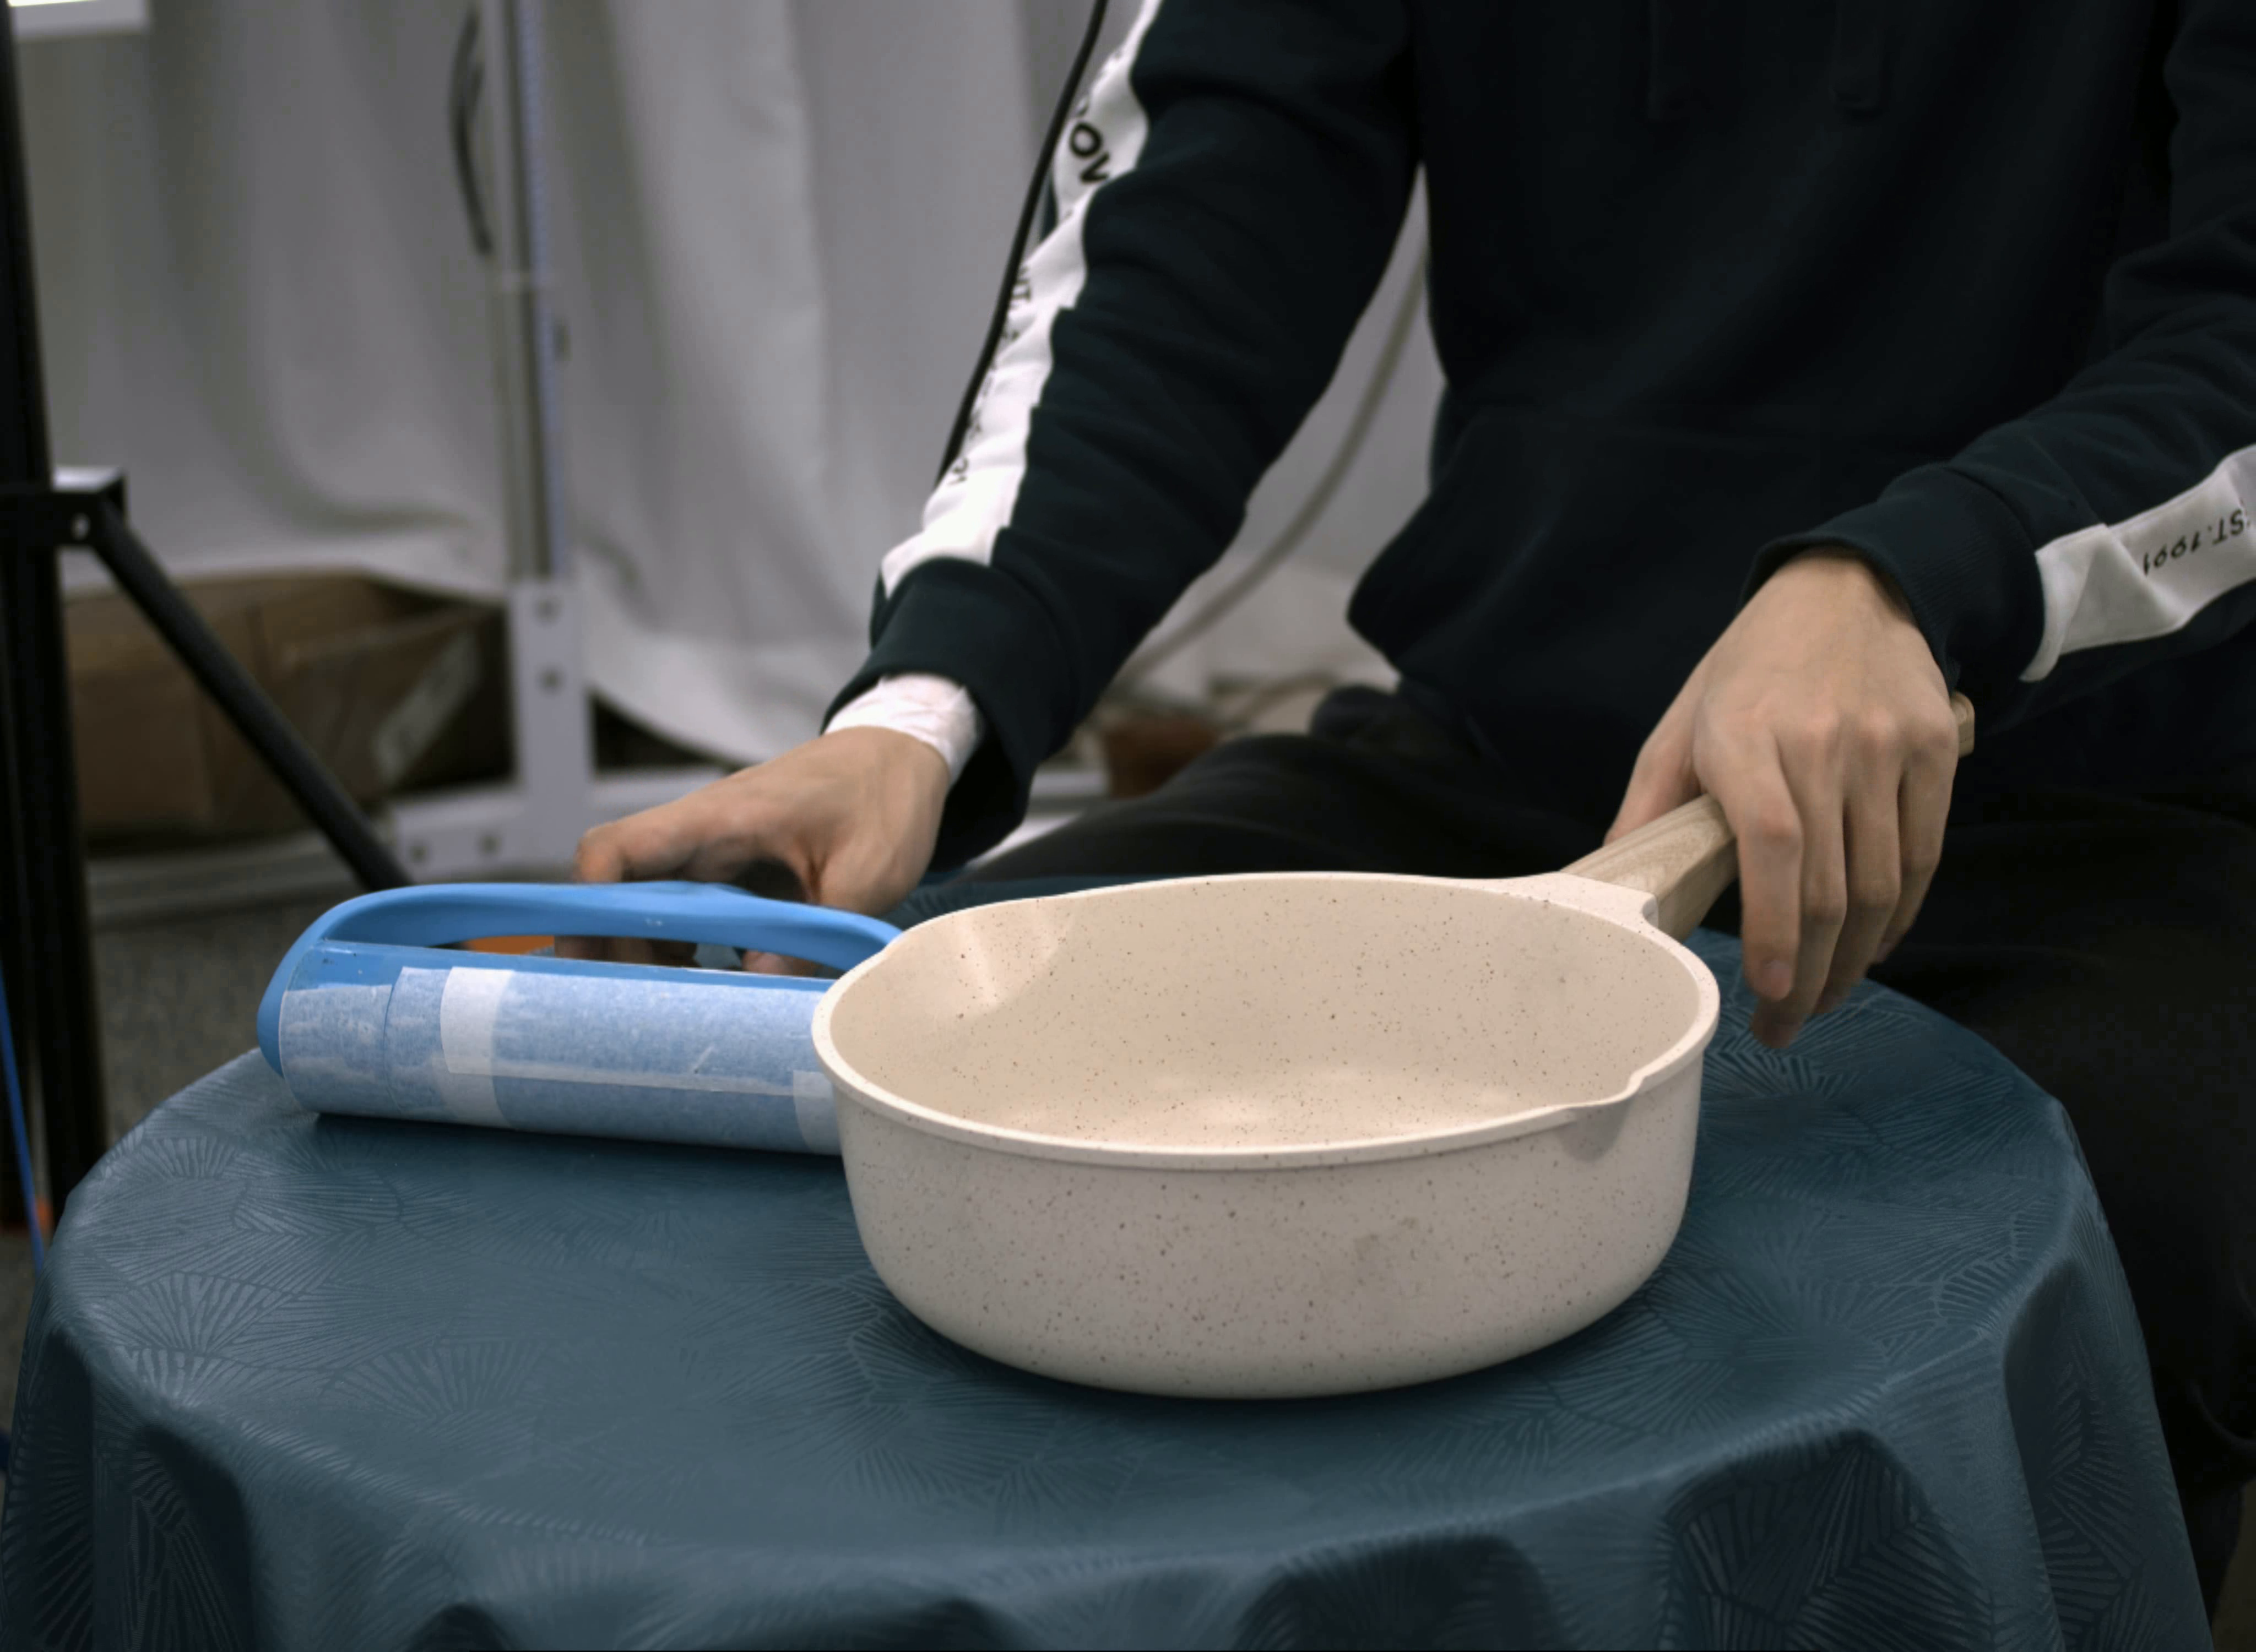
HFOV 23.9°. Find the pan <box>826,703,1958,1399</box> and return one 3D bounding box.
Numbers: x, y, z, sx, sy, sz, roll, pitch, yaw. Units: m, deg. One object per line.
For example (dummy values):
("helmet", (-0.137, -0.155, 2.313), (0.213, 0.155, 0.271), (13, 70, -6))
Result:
("pan", (0.107, 0.060, 1.526), (0.425, 0.102, 0.269), (-17, 20, -42))

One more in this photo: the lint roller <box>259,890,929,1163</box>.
("lint roller", (-0.144, 0.050, 1.681), (0.231, 0.068, 0.178), (1, 18, 18))
